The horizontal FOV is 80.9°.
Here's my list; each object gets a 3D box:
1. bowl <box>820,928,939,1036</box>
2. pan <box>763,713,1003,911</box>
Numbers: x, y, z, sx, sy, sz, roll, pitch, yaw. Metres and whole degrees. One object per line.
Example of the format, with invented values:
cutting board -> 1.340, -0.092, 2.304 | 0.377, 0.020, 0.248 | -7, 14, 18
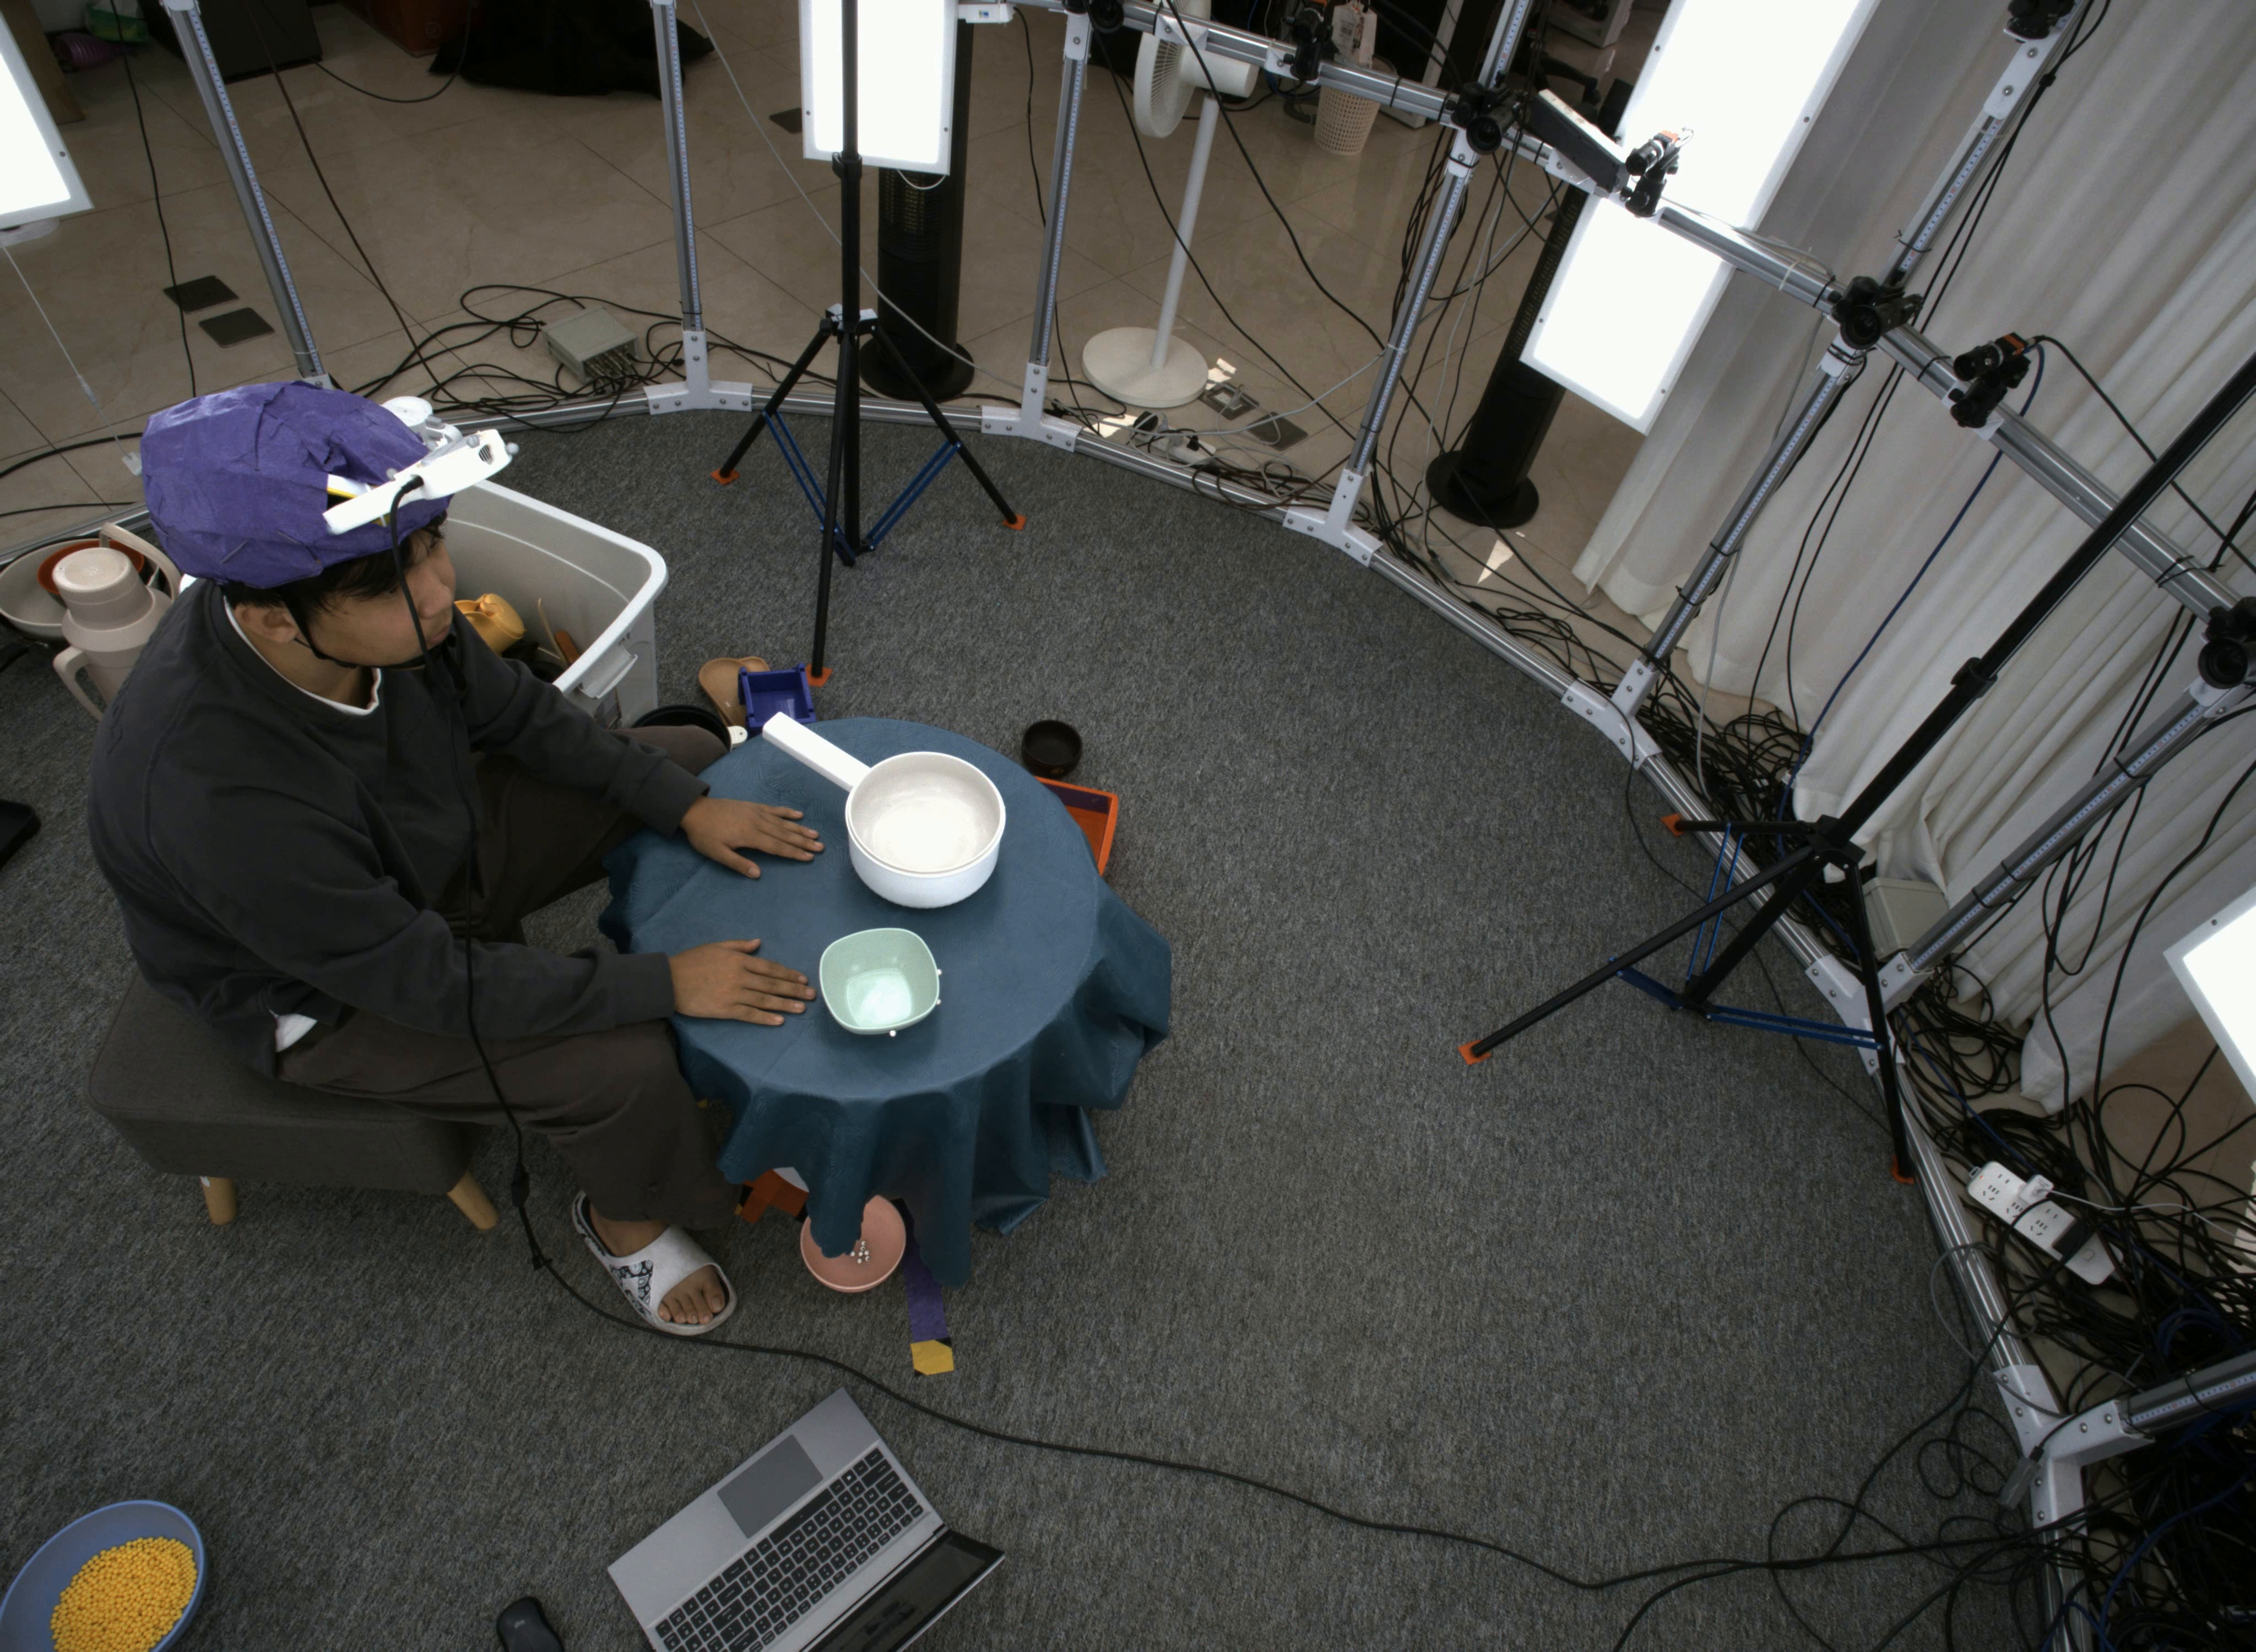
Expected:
bowl -> -0.300, 0.196, 1.569 | 0.151, 0.060, 0.149 | 8, 52, -9
pan -> -0.328, -0.026, 1.705 | 0.348, 0.104, 0.200 | 30, 54, 11
